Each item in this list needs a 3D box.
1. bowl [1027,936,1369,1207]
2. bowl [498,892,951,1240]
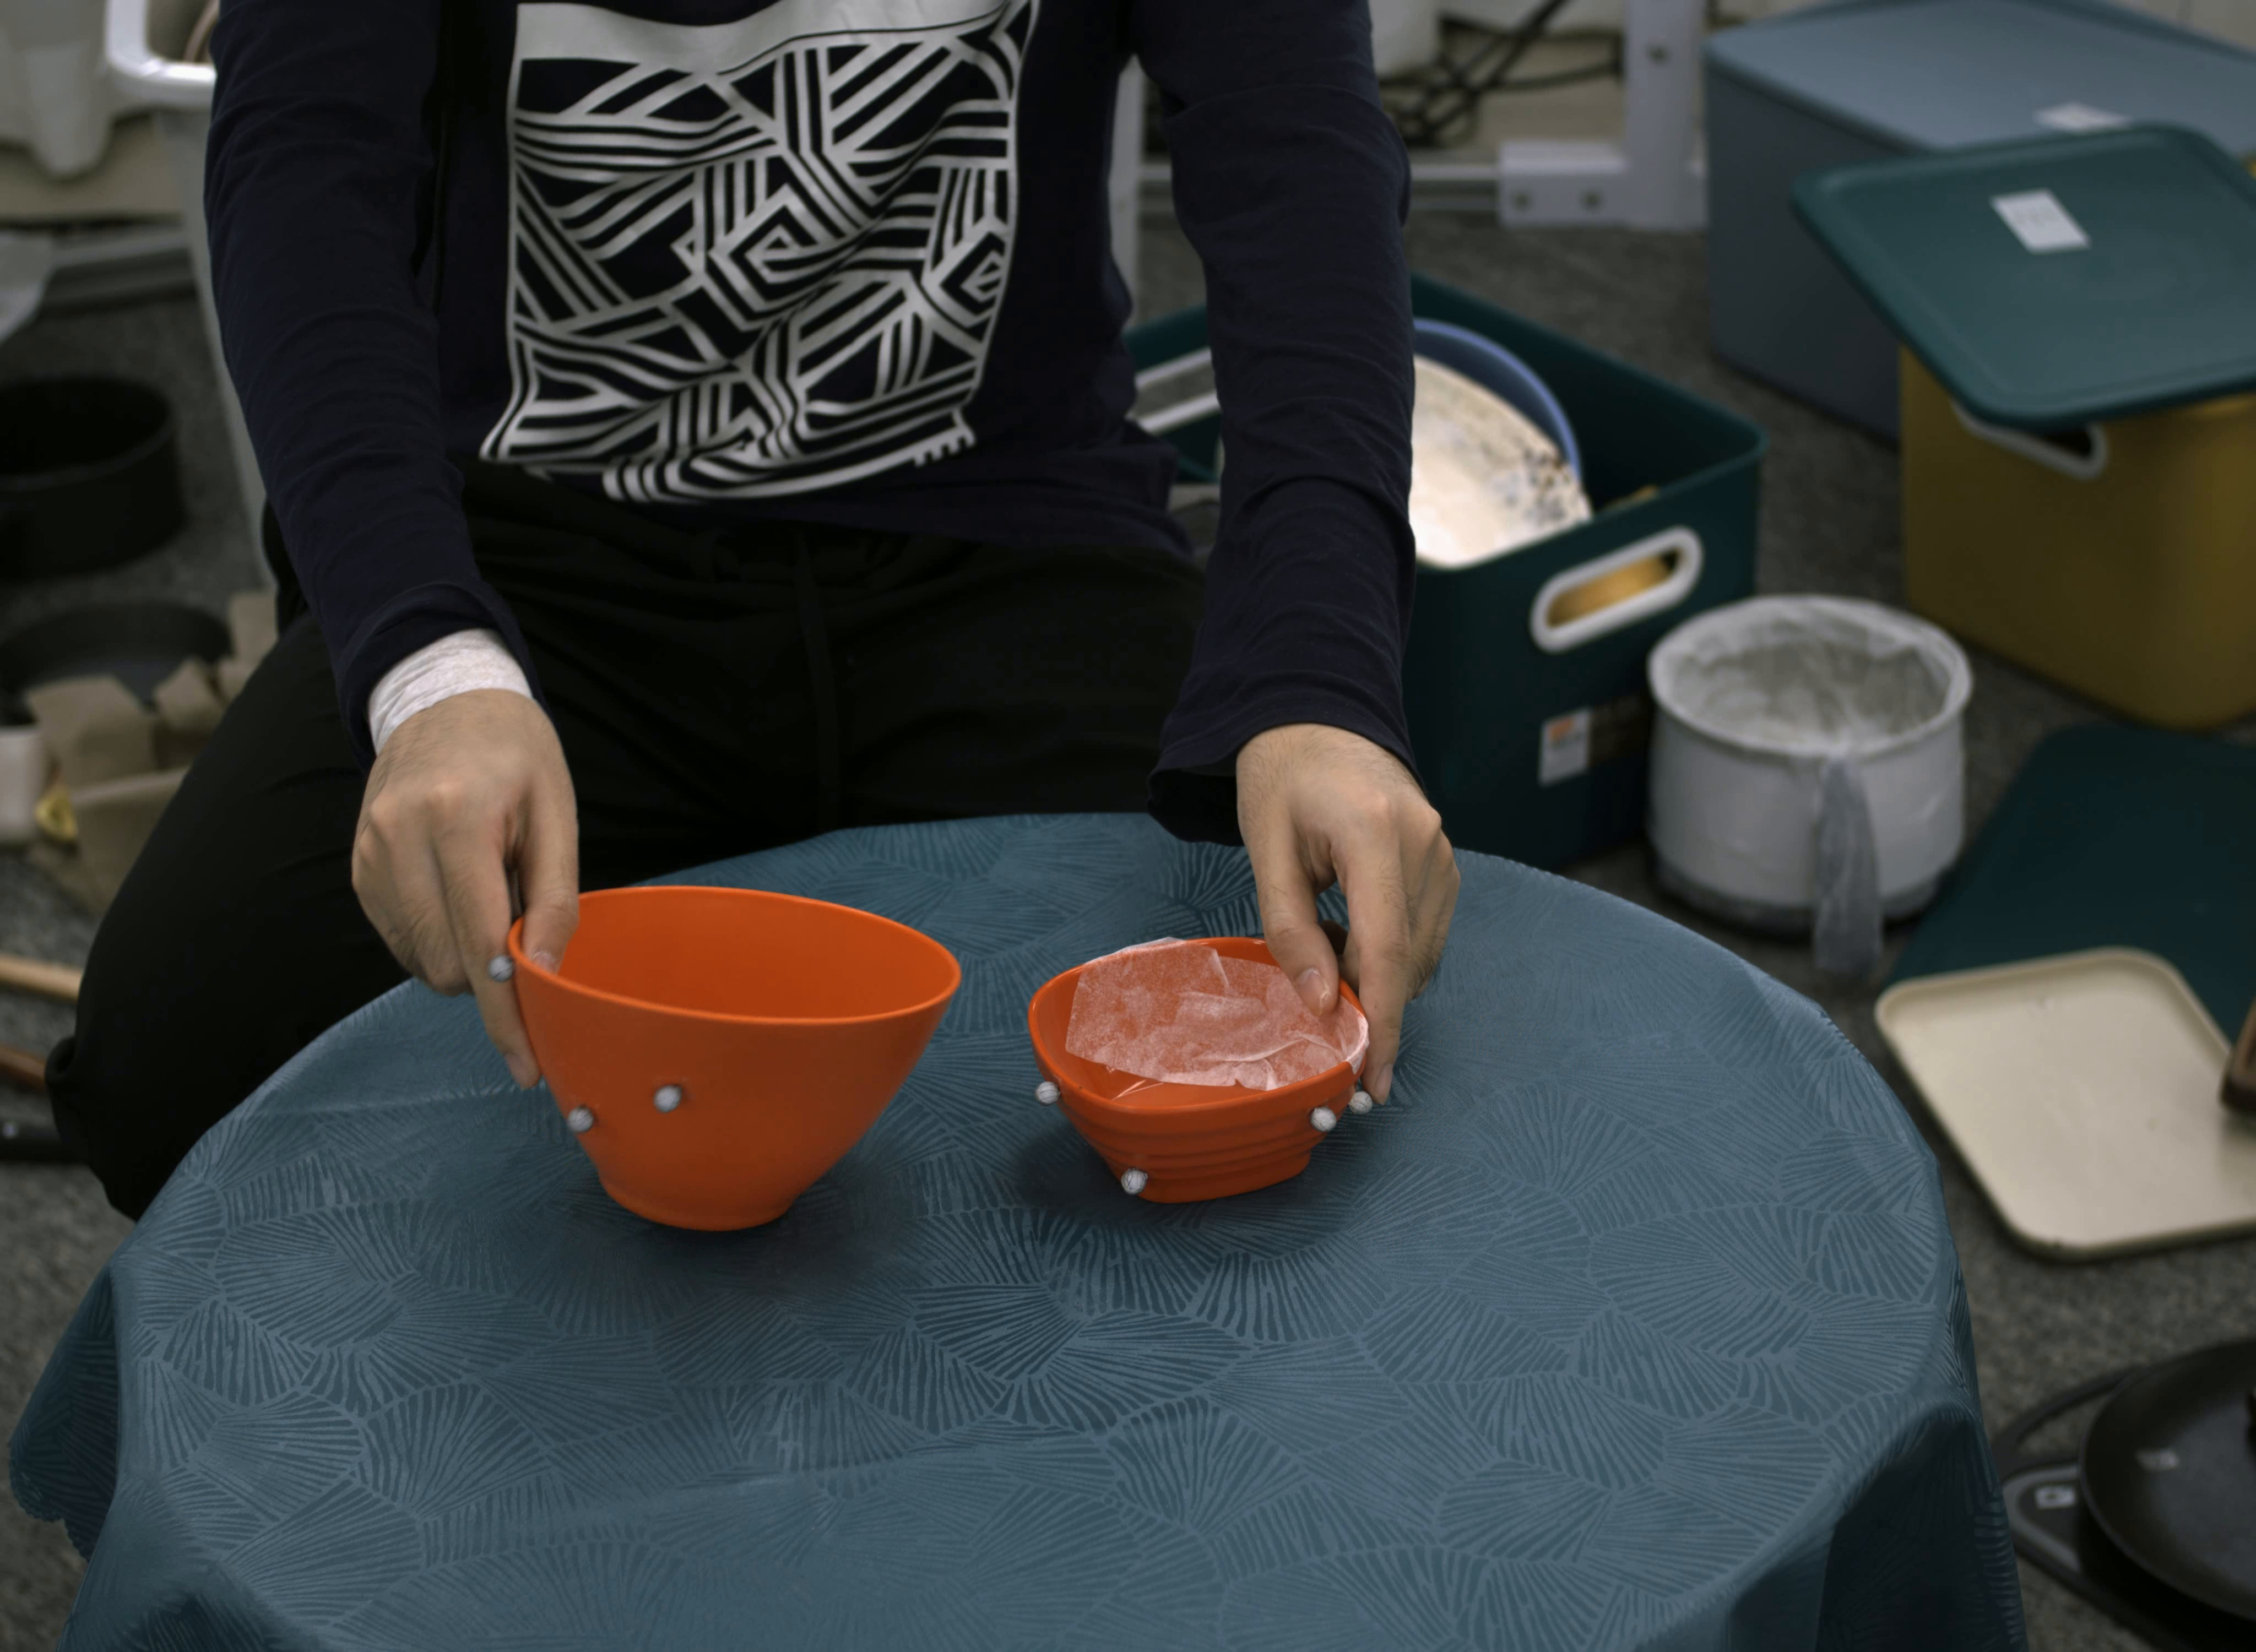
[{"bbox_3d":[0.024,0.086,1.875,0.118,0.051,0.121,-4,27,2],"label":"bowl"},{"bbox_3d":[-0.136,0.080,1.836,0.147,0.103,0.150,7,23,-3],"label":"bowl"}]
